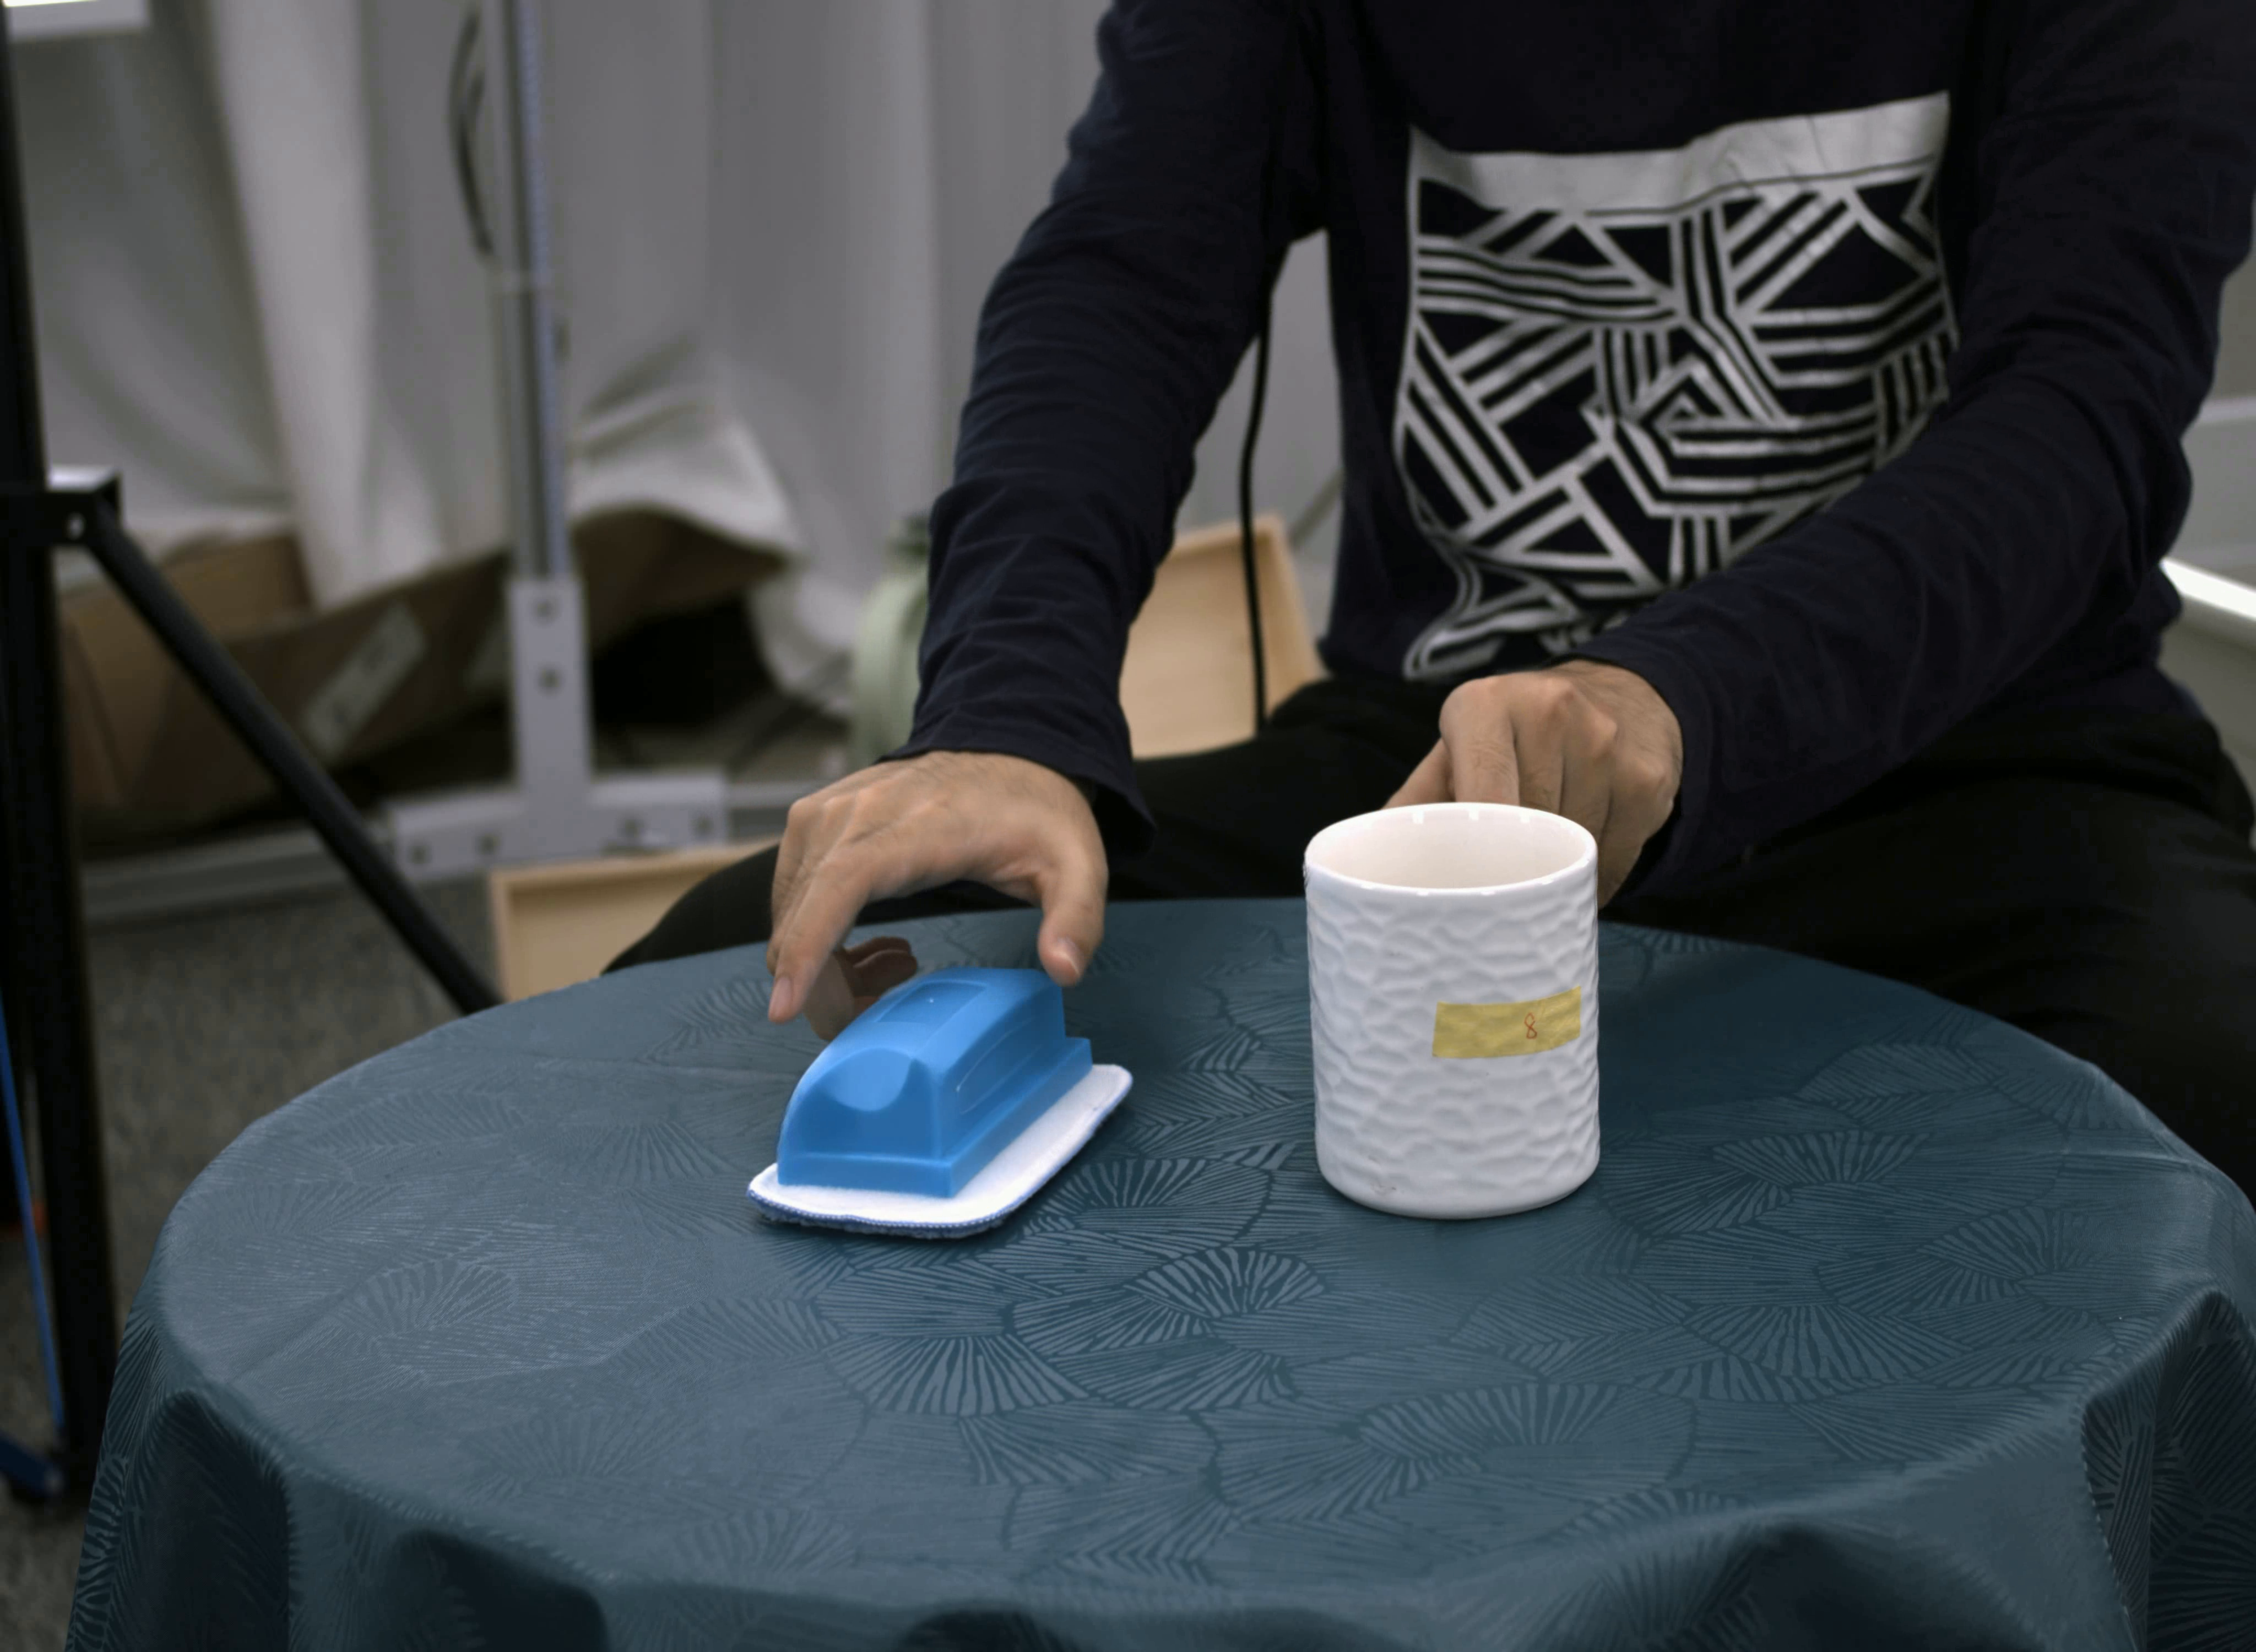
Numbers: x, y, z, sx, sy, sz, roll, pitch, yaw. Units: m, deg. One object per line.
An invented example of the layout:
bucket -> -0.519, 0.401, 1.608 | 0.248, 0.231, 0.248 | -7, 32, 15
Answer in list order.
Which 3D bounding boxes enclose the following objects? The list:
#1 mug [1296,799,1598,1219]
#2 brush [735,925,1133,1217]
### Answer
mug -> 0.093, 0.049, 1.562 | 0.084, 0.102, 0.119 | -4, 17, -1
brush -> -0.056, 0.069, 1.594 | 0.085, 0.056, 0.142 | 7, 21, 21
